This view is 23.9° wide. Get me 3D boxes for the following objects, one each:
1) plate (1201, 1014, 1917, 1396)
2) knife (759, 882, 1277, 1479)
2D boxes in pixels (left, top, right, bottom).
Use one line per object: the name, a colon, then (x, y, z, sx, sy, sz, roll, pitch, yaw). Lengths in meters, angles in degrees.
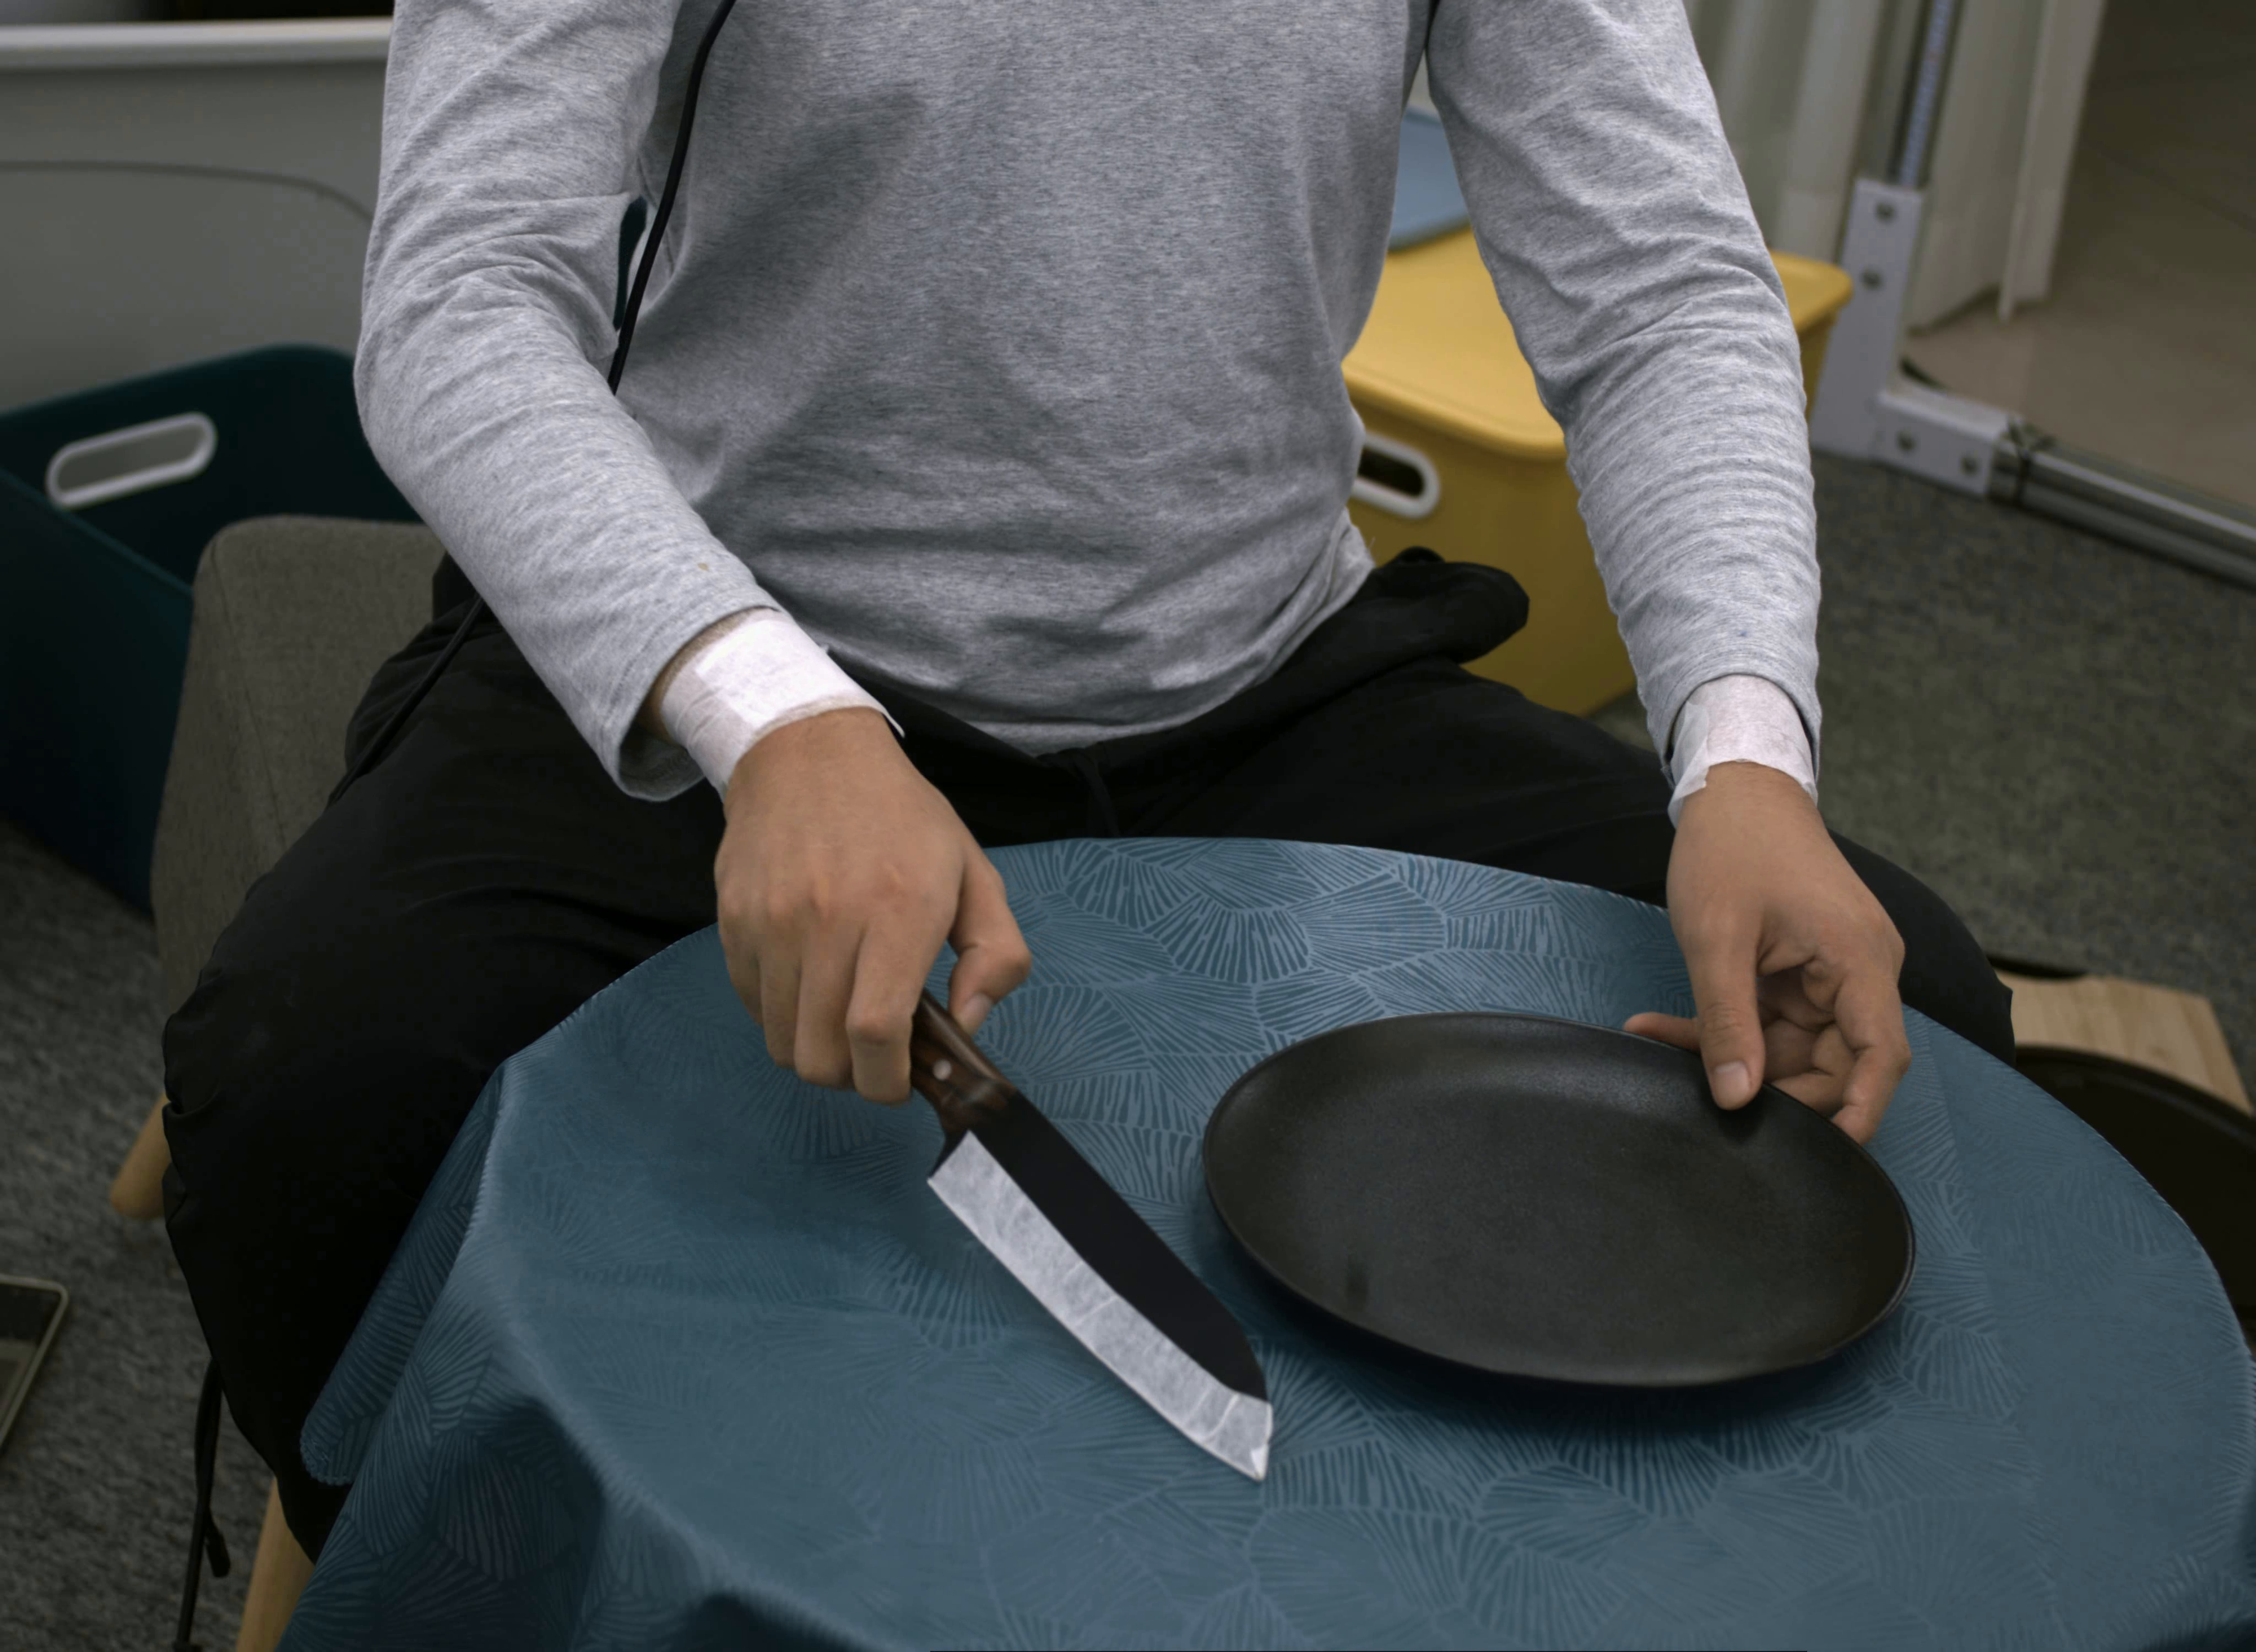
plate: (0.144, 0.132, 1.797, 0.243, 0.023, 0.246, 5, 27, -3)
knife: (-0.037, 0.113, 1.734, 0.292, 0.050, 0.020, 47, 10, 34)
